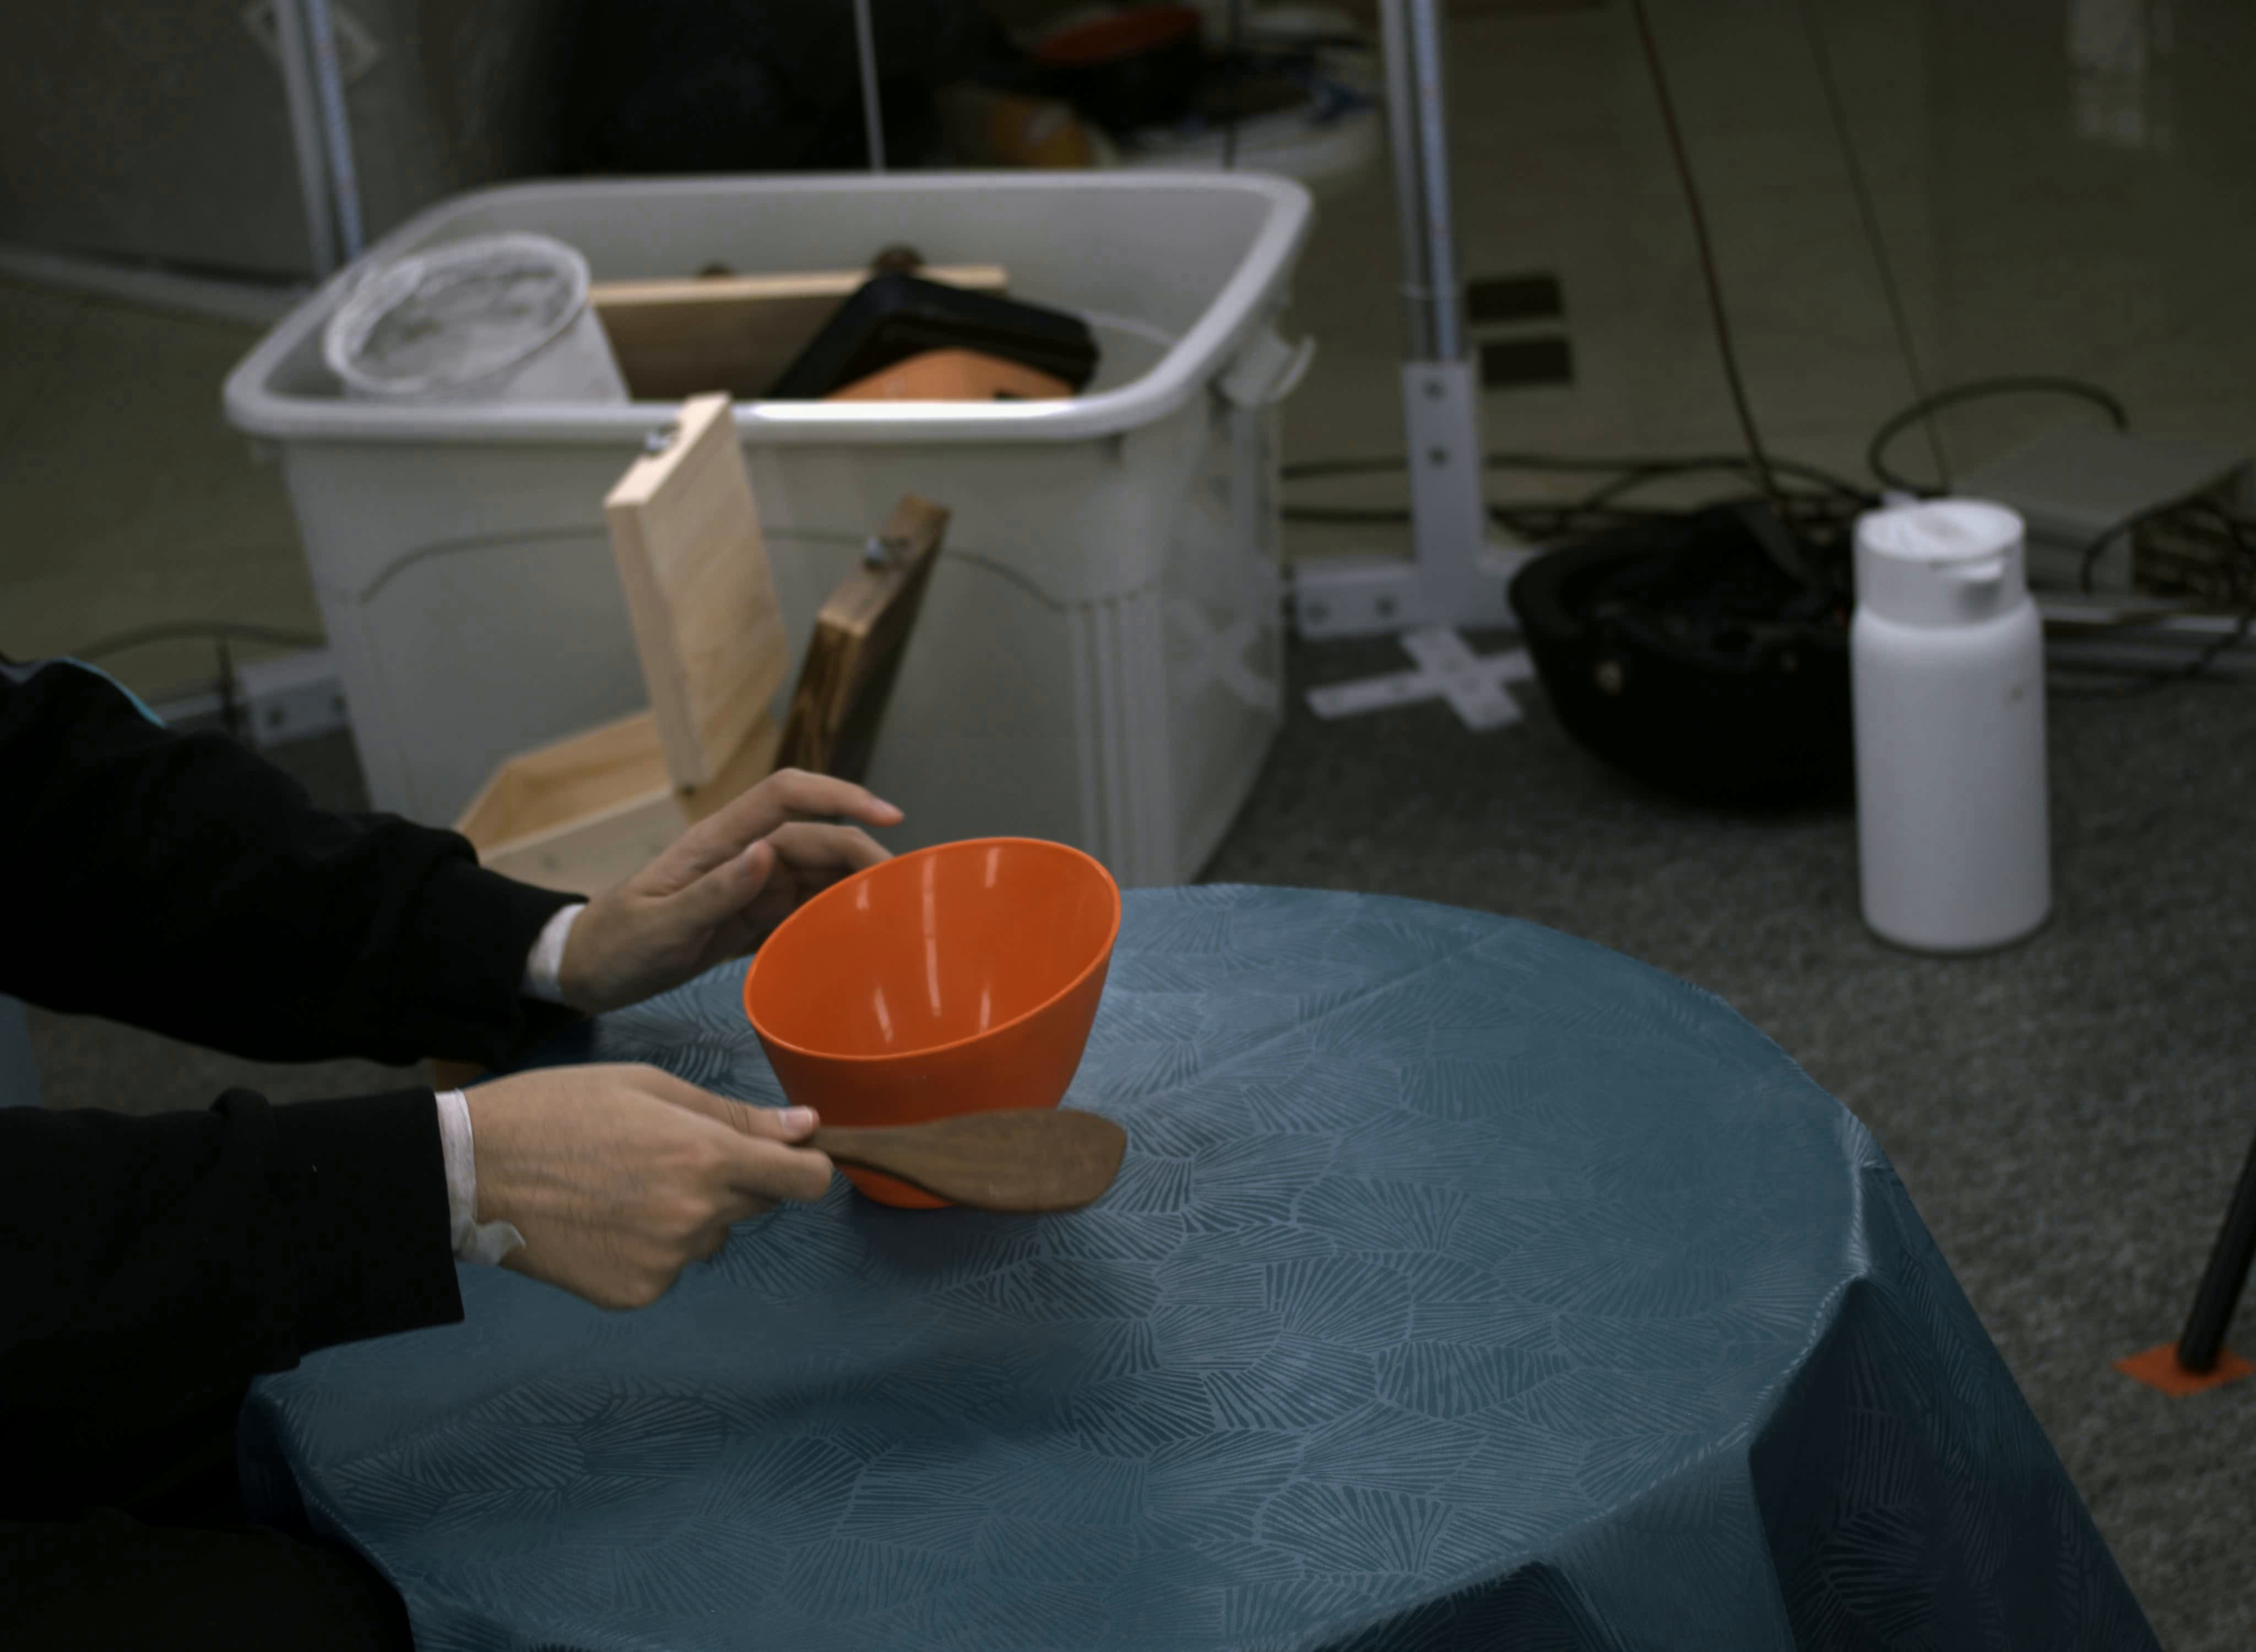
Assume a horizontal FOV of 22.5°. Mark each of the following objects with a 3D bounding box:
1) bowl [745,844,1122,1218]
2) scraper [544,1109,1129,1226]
[{"bbox_3d":[-0.068,0.085,2.168,0.148,0.106,0.146,-7,26,3],"label":"bowl"},{"bbox_3d":[-0.105,0.117,2.029,0.211,0.011,0.075,4,27,8],"label":"scraper"}]
